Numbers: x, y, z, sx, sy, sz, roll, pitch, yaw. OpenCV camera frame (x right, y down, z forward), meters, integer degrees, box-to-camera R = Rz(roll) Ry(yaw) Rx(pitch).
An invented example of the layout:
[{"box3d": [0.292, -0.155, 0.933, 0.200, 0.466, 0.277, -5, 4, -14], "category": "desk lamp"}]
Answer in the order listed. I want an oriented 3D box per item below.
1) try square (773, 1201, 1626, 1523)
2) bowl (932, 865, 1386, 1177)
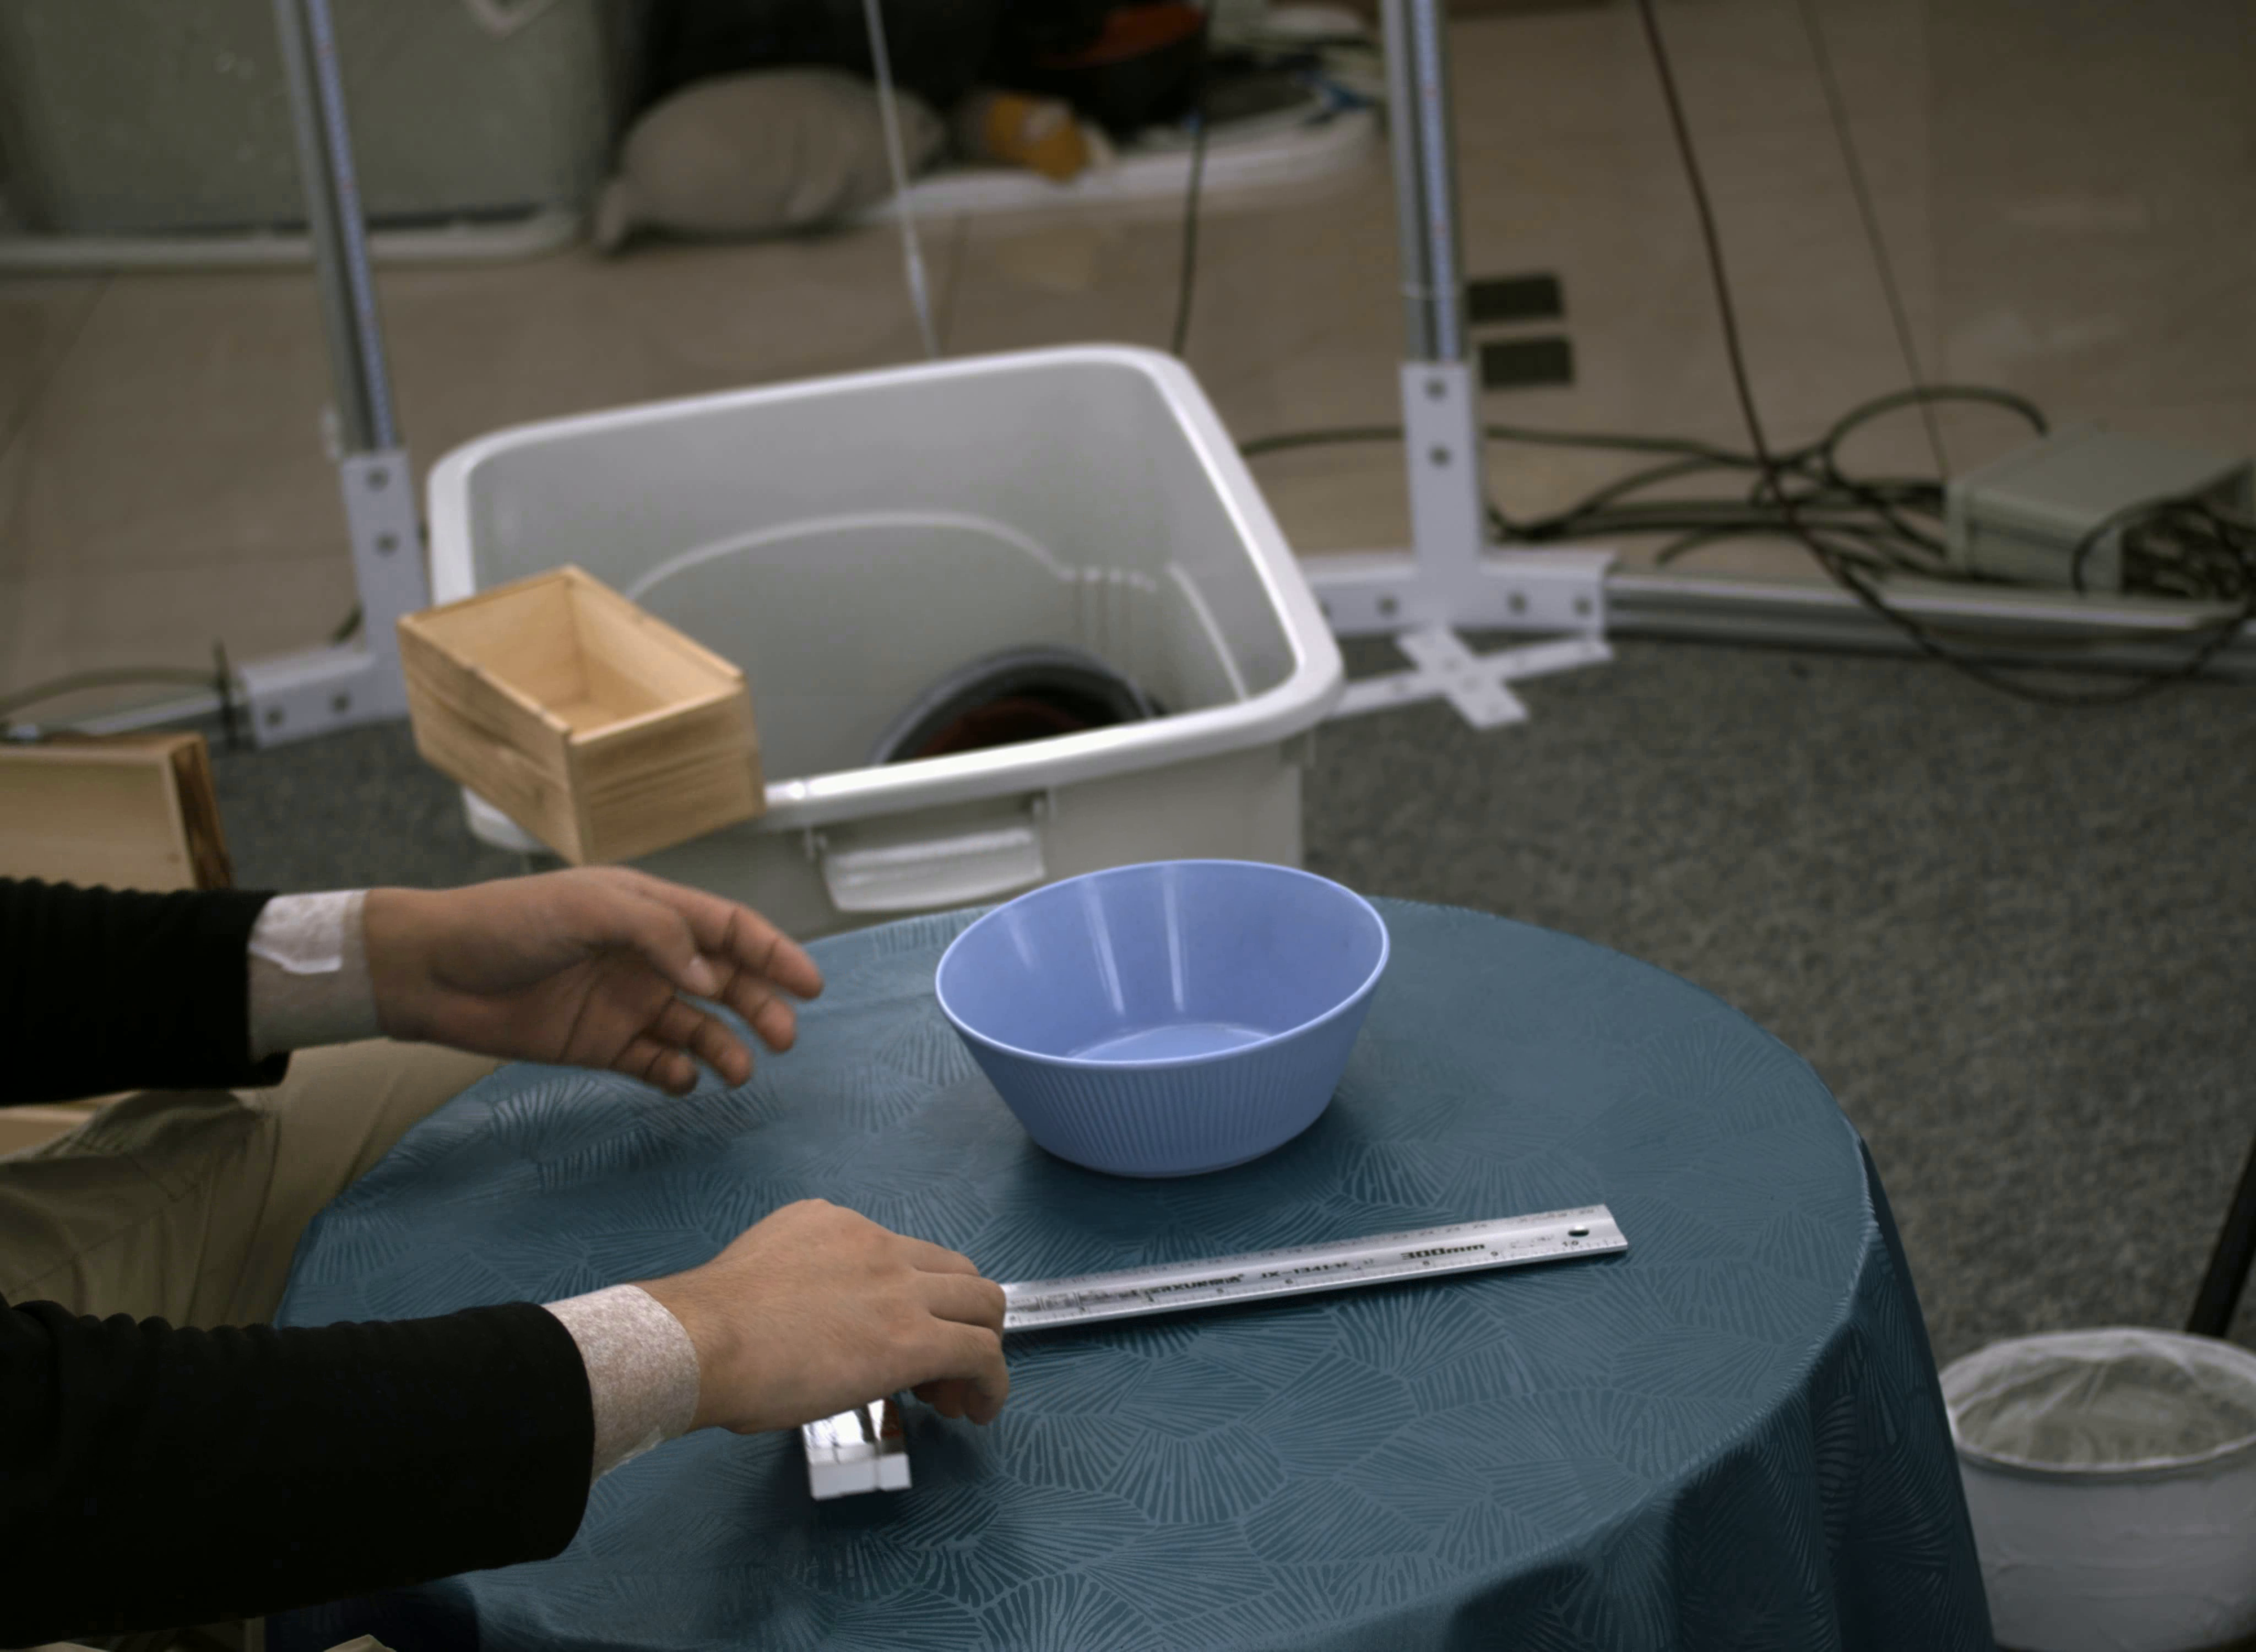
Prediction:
[{"box3d": [0.033, 0.186, 2.019, 0.312, 0.016, 0.150, -8, 22, -6], "category": "try square"}, {"box3d": [0.014, 0.080, 2.187, 0.176, 0.071, 0.173, -5, 25, 2], "category": "bowl"}]
